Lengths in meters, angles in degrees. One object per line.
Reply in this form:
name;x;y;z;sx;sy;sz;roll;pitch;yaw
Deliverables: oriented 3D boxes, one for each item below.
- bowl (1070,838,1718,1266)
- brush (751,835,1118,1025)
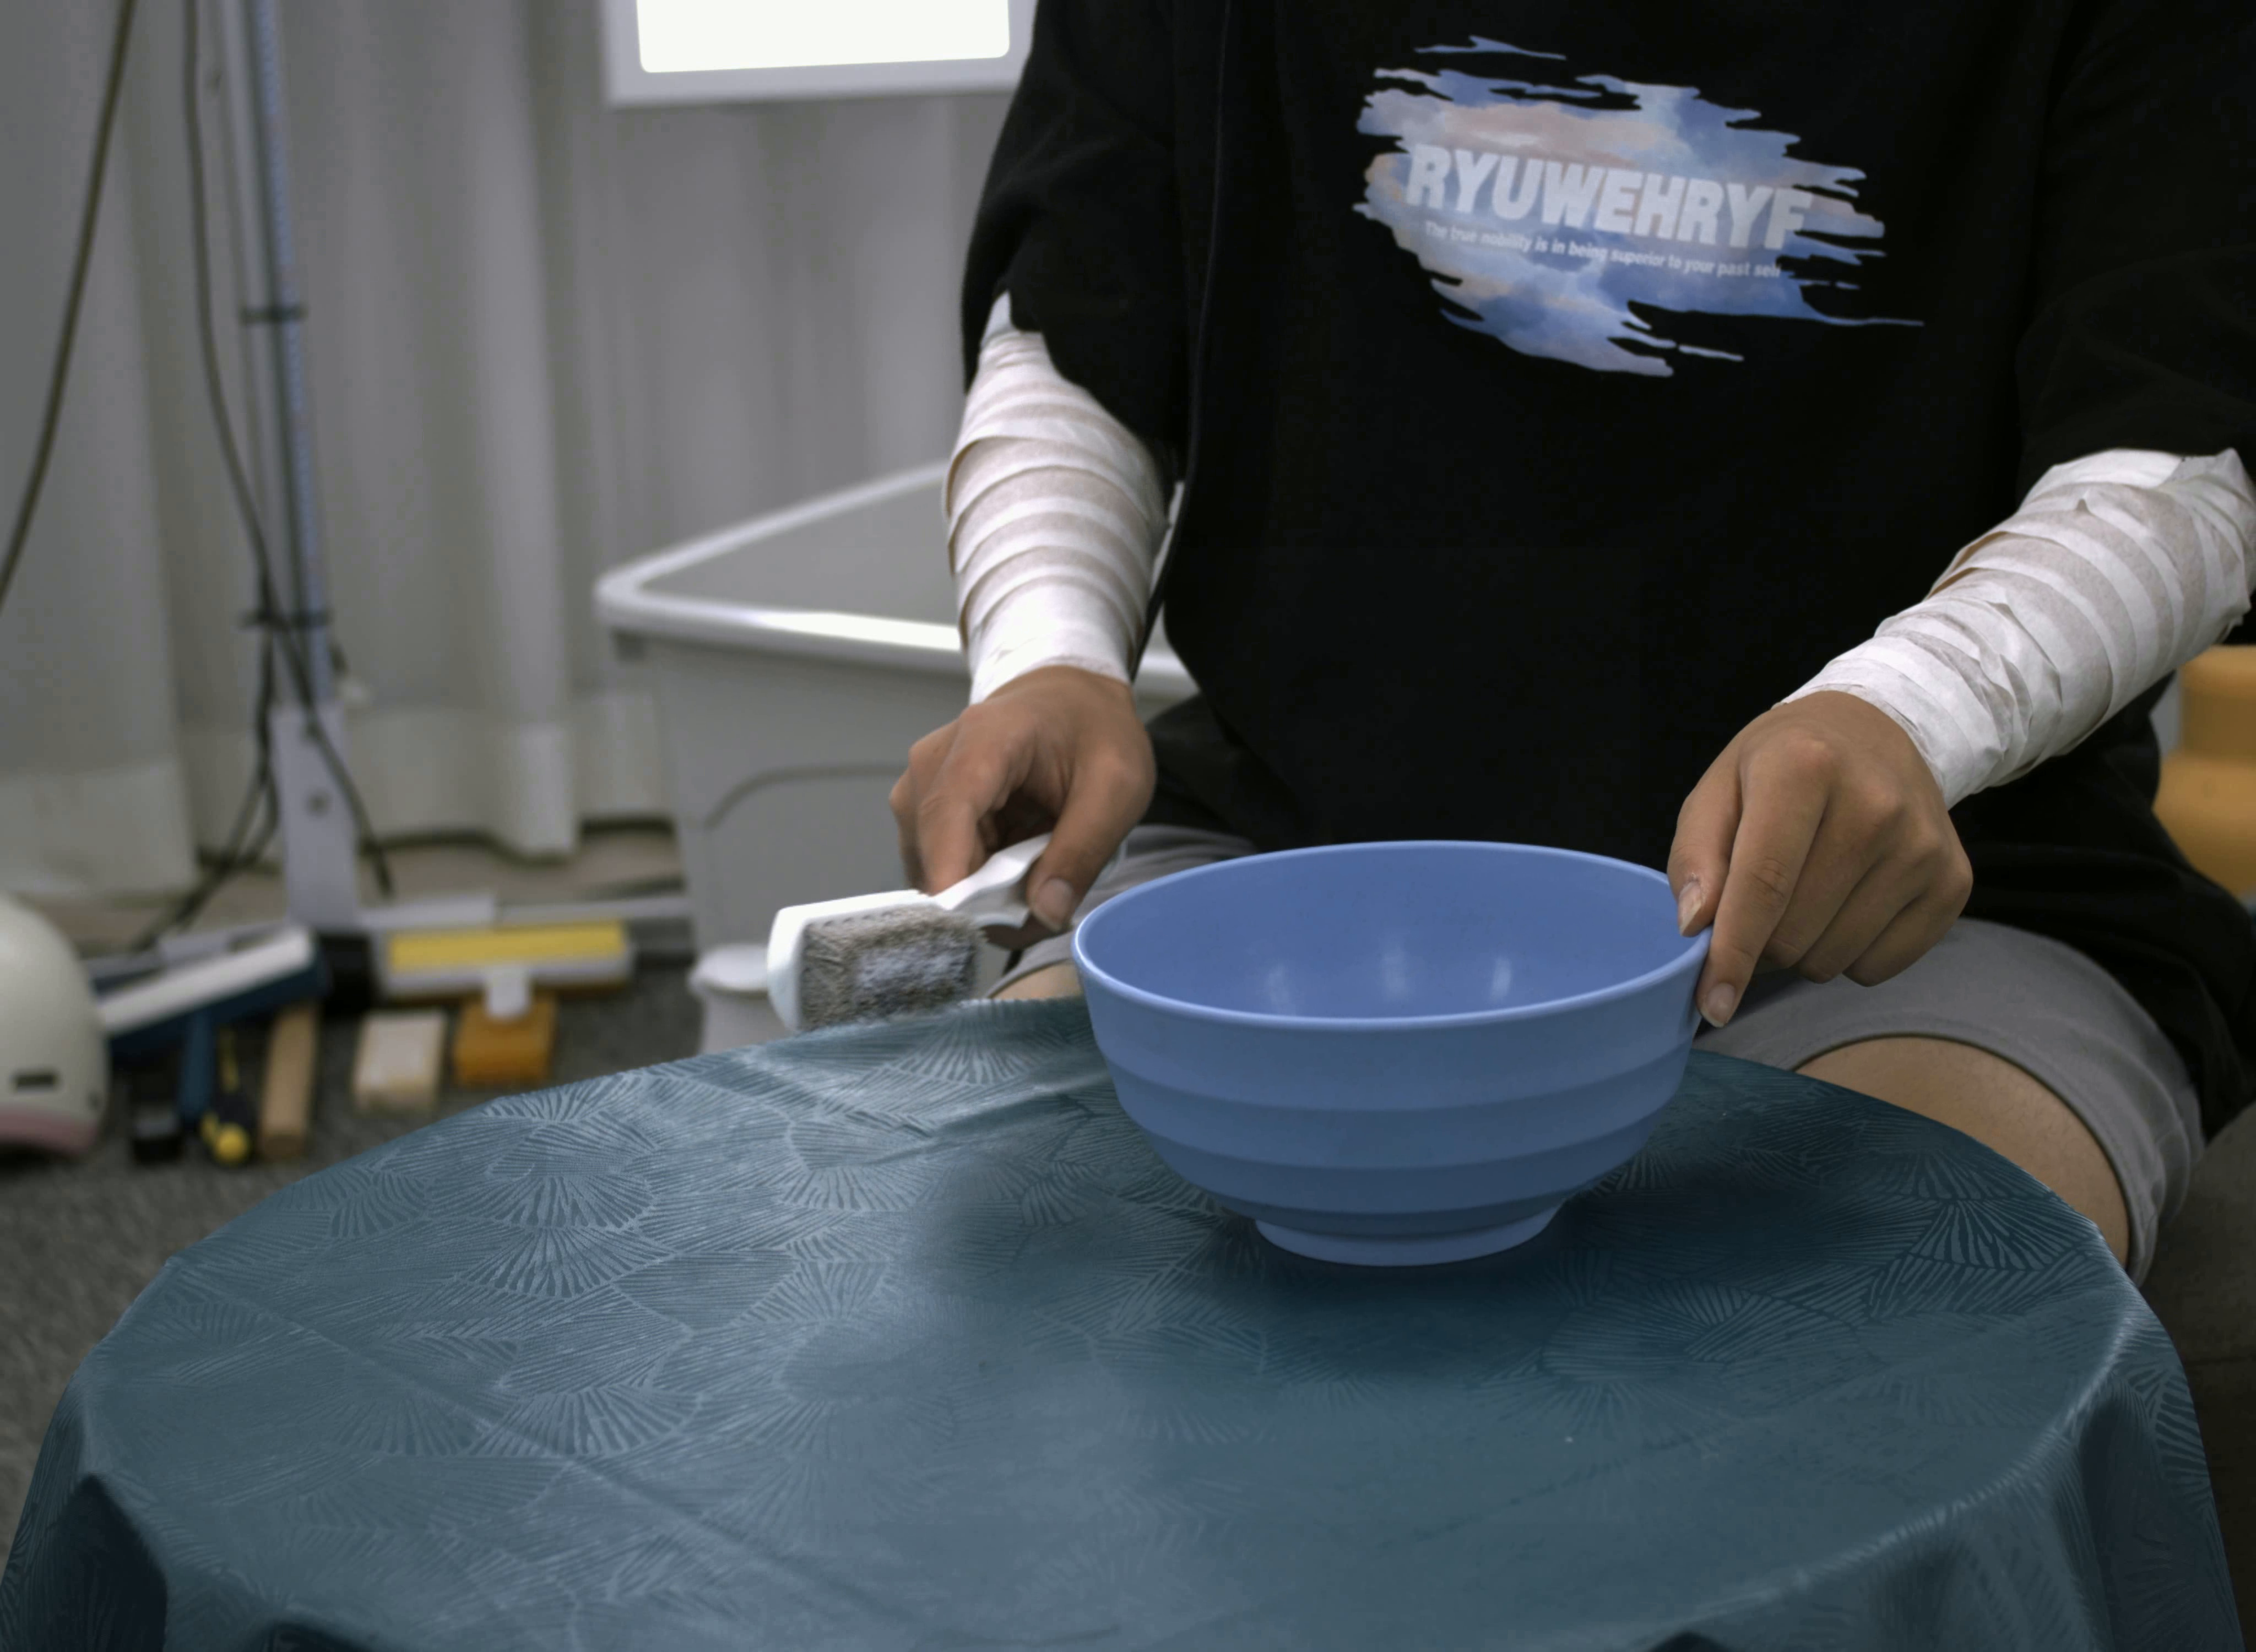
bowl;0.083;0.074;1.664;0.196;0.095;0.198;-4;15;1
brush;-0.044;0.032;1.771;0.050;0.034;0.243;16;13;25
